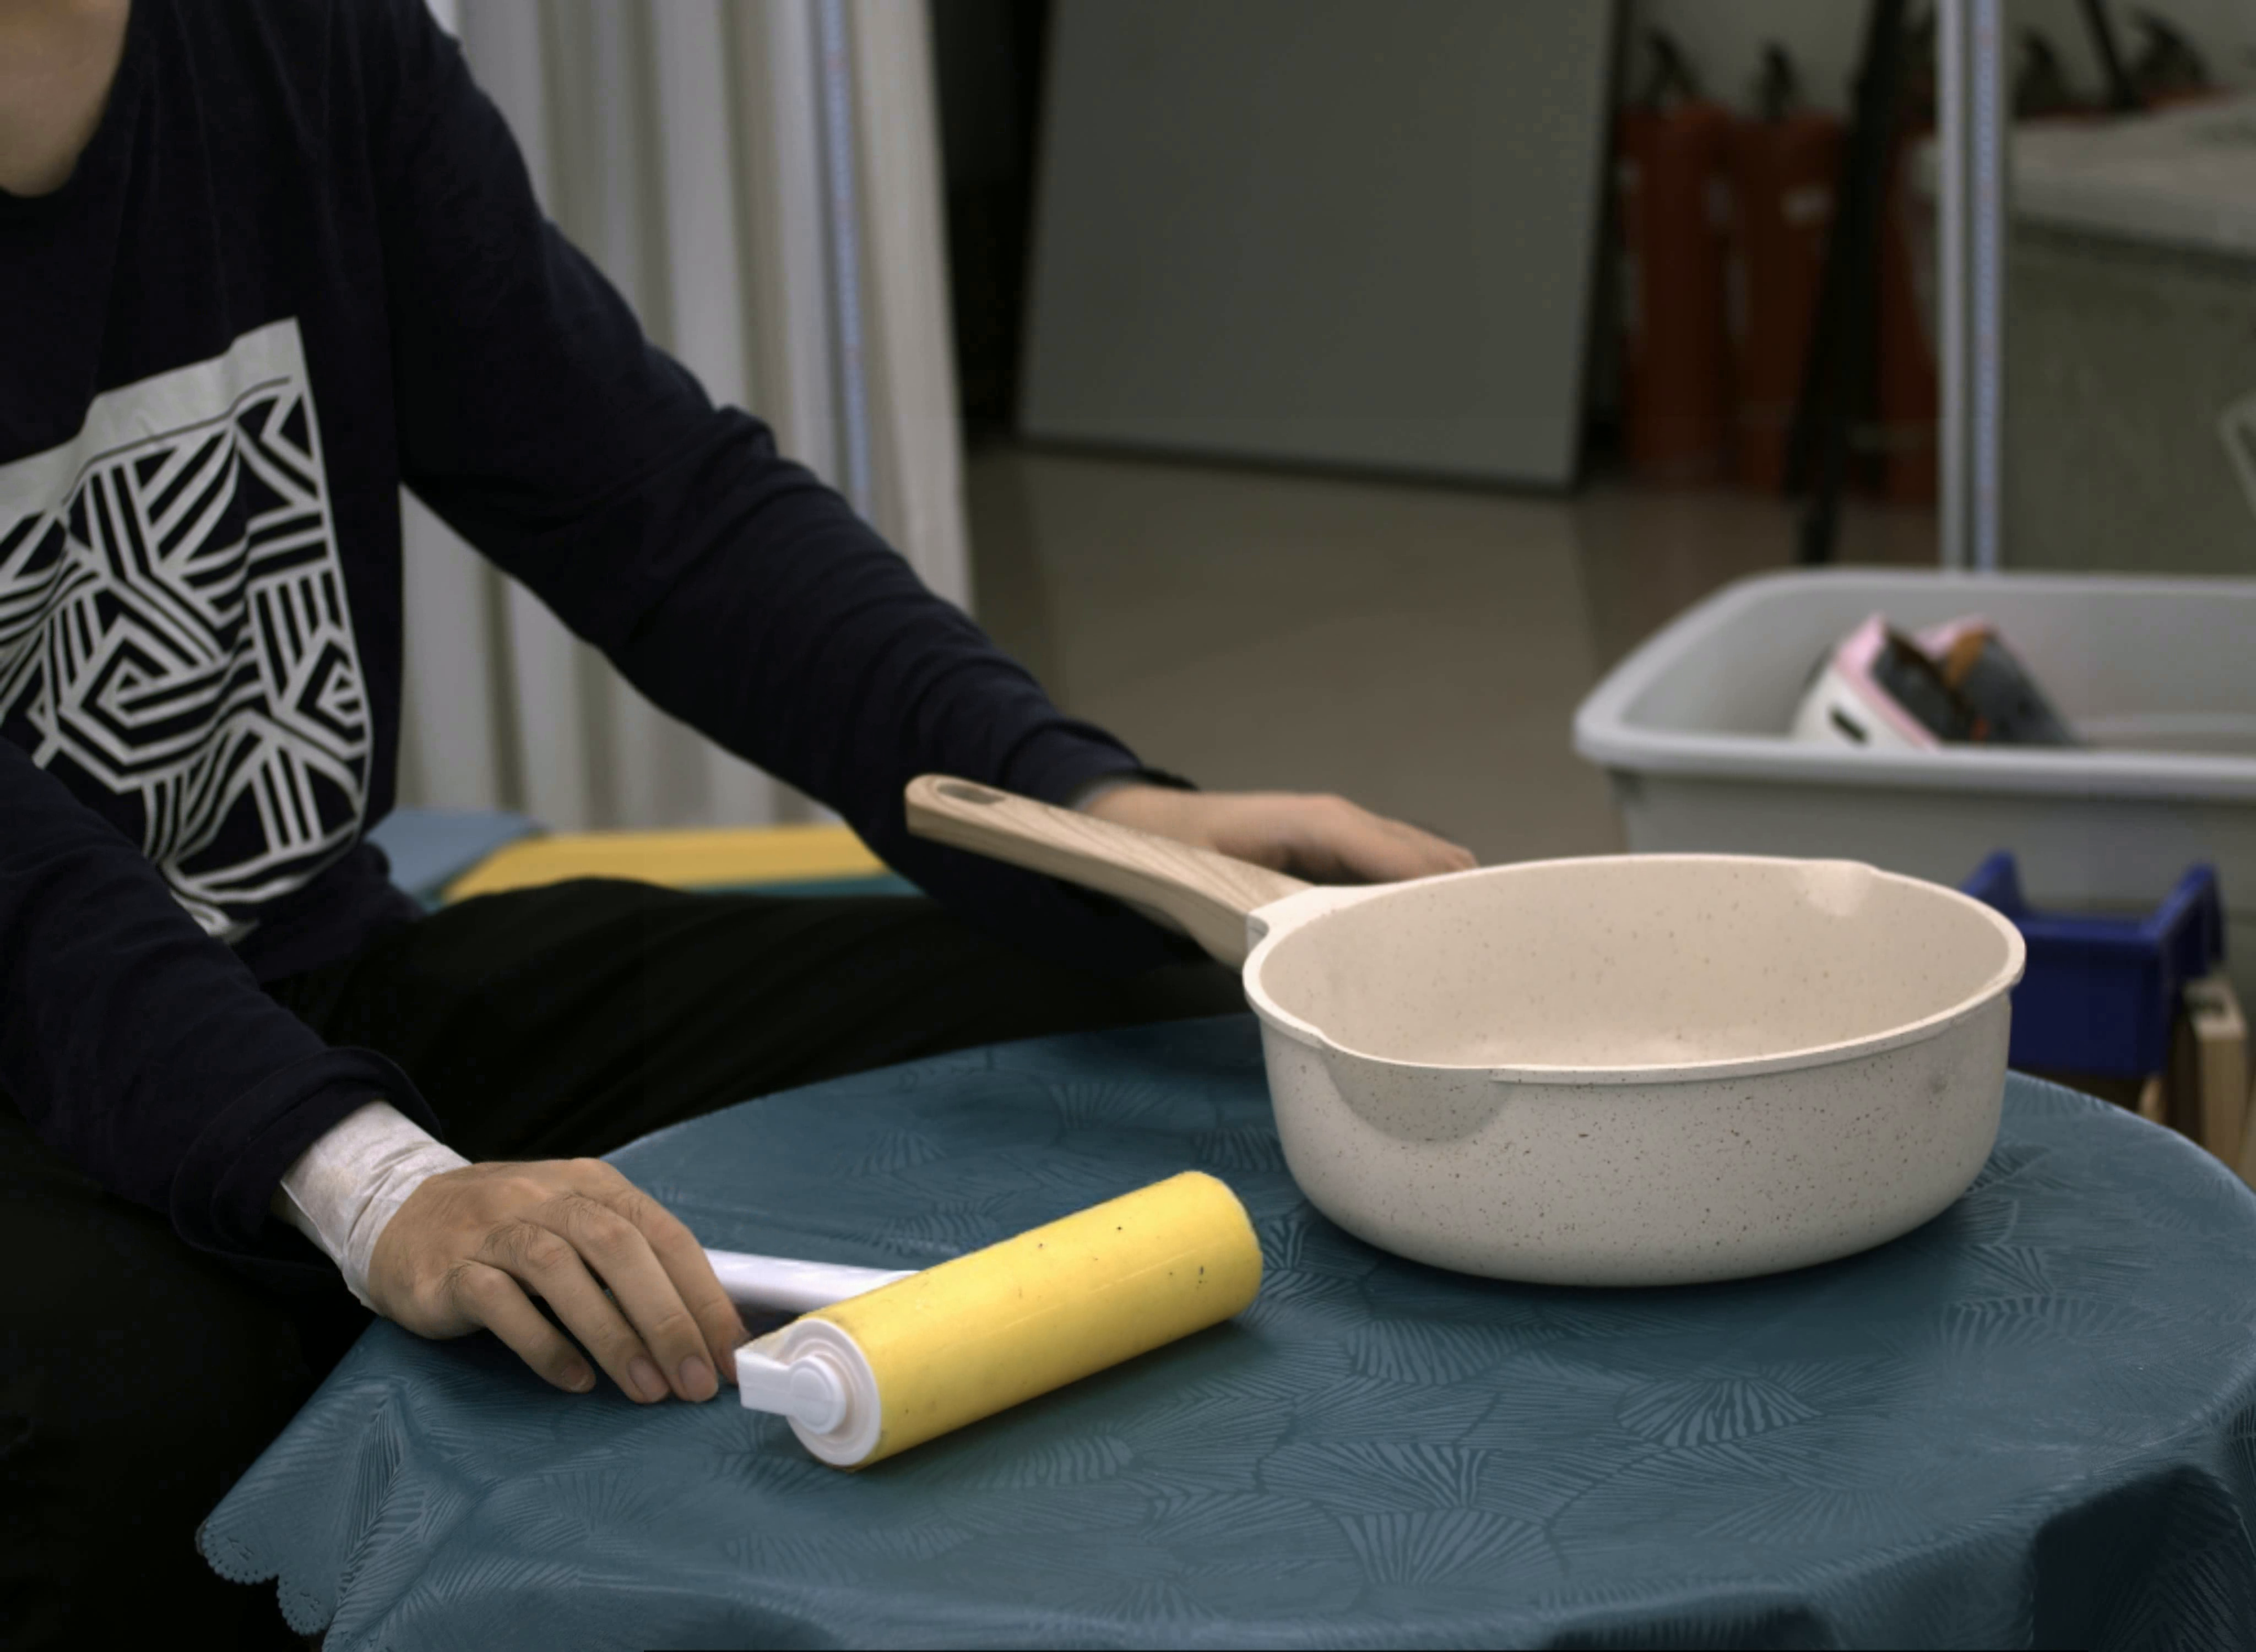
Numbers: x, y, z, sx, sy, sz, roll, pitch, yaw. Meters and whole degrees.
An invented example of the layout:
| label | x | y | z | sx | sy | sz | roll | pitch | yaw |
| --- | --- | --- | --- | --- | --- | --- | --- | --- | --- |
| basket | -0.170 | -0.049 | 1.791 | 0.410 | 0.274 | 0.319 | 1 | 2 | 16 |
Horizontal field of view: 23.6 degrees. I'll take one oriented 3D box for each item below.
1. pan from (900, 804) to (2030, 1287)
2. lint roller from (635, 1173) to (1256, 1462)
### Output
| label | x | y | z | sx | sy | sz | roll | pitch | yaw |
| --- | --- | --- | --- | --- | --- | --- | --- | --- | --- |
| pan | 0.095 | 0.061 | 1.786 | 0.438 | 0.103 | 0.258 | 7 | 20 | 40 |
| lint roller | -0.084 | 0.138 | 1.636 | 0.194 | 0.052 | 0.170 | 8 | 18 | 44 |
